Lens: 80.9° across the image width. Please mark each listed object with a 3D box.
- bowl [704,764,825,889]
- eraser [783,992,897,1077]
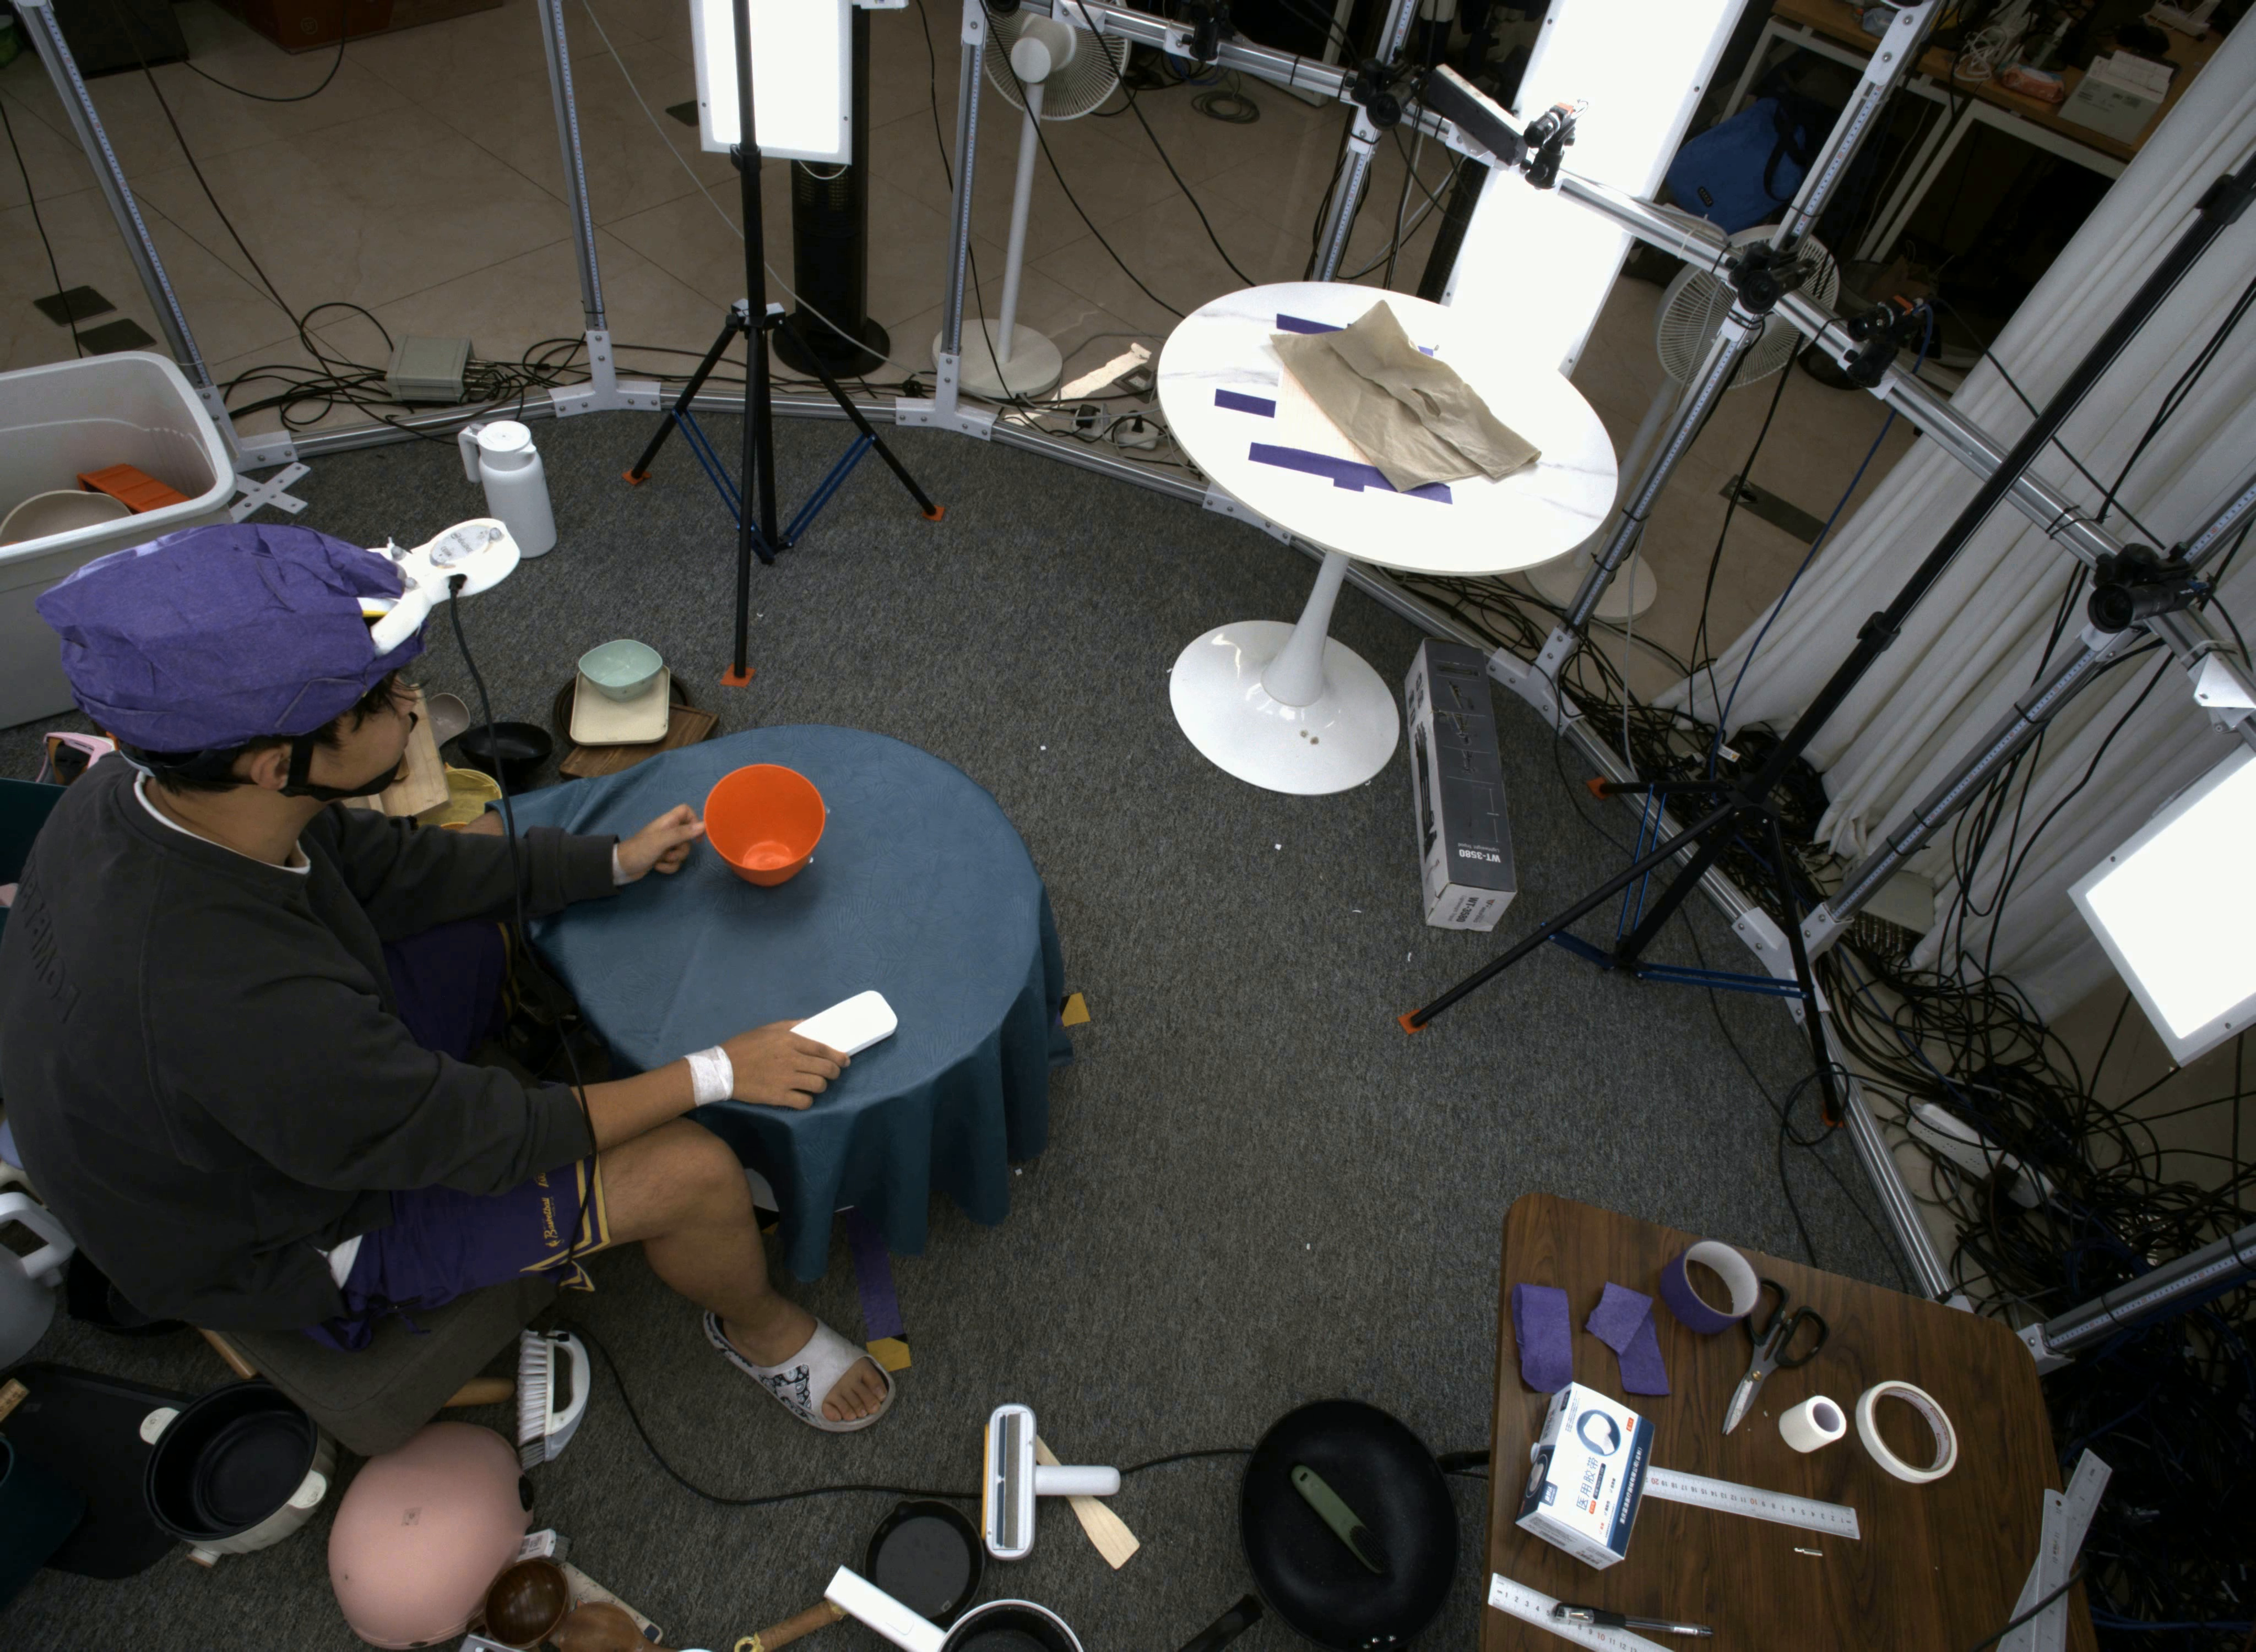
[{"bbox_3d":[-0.460,0.011,1.647,0.148,0.107,0.145,7,53,-8],"label":"bowl"},{"bbox_3d":[-0.343,0.243,1.547,0.132,0.035,0.062,-24,61,-30],"label":"eraser"}]
